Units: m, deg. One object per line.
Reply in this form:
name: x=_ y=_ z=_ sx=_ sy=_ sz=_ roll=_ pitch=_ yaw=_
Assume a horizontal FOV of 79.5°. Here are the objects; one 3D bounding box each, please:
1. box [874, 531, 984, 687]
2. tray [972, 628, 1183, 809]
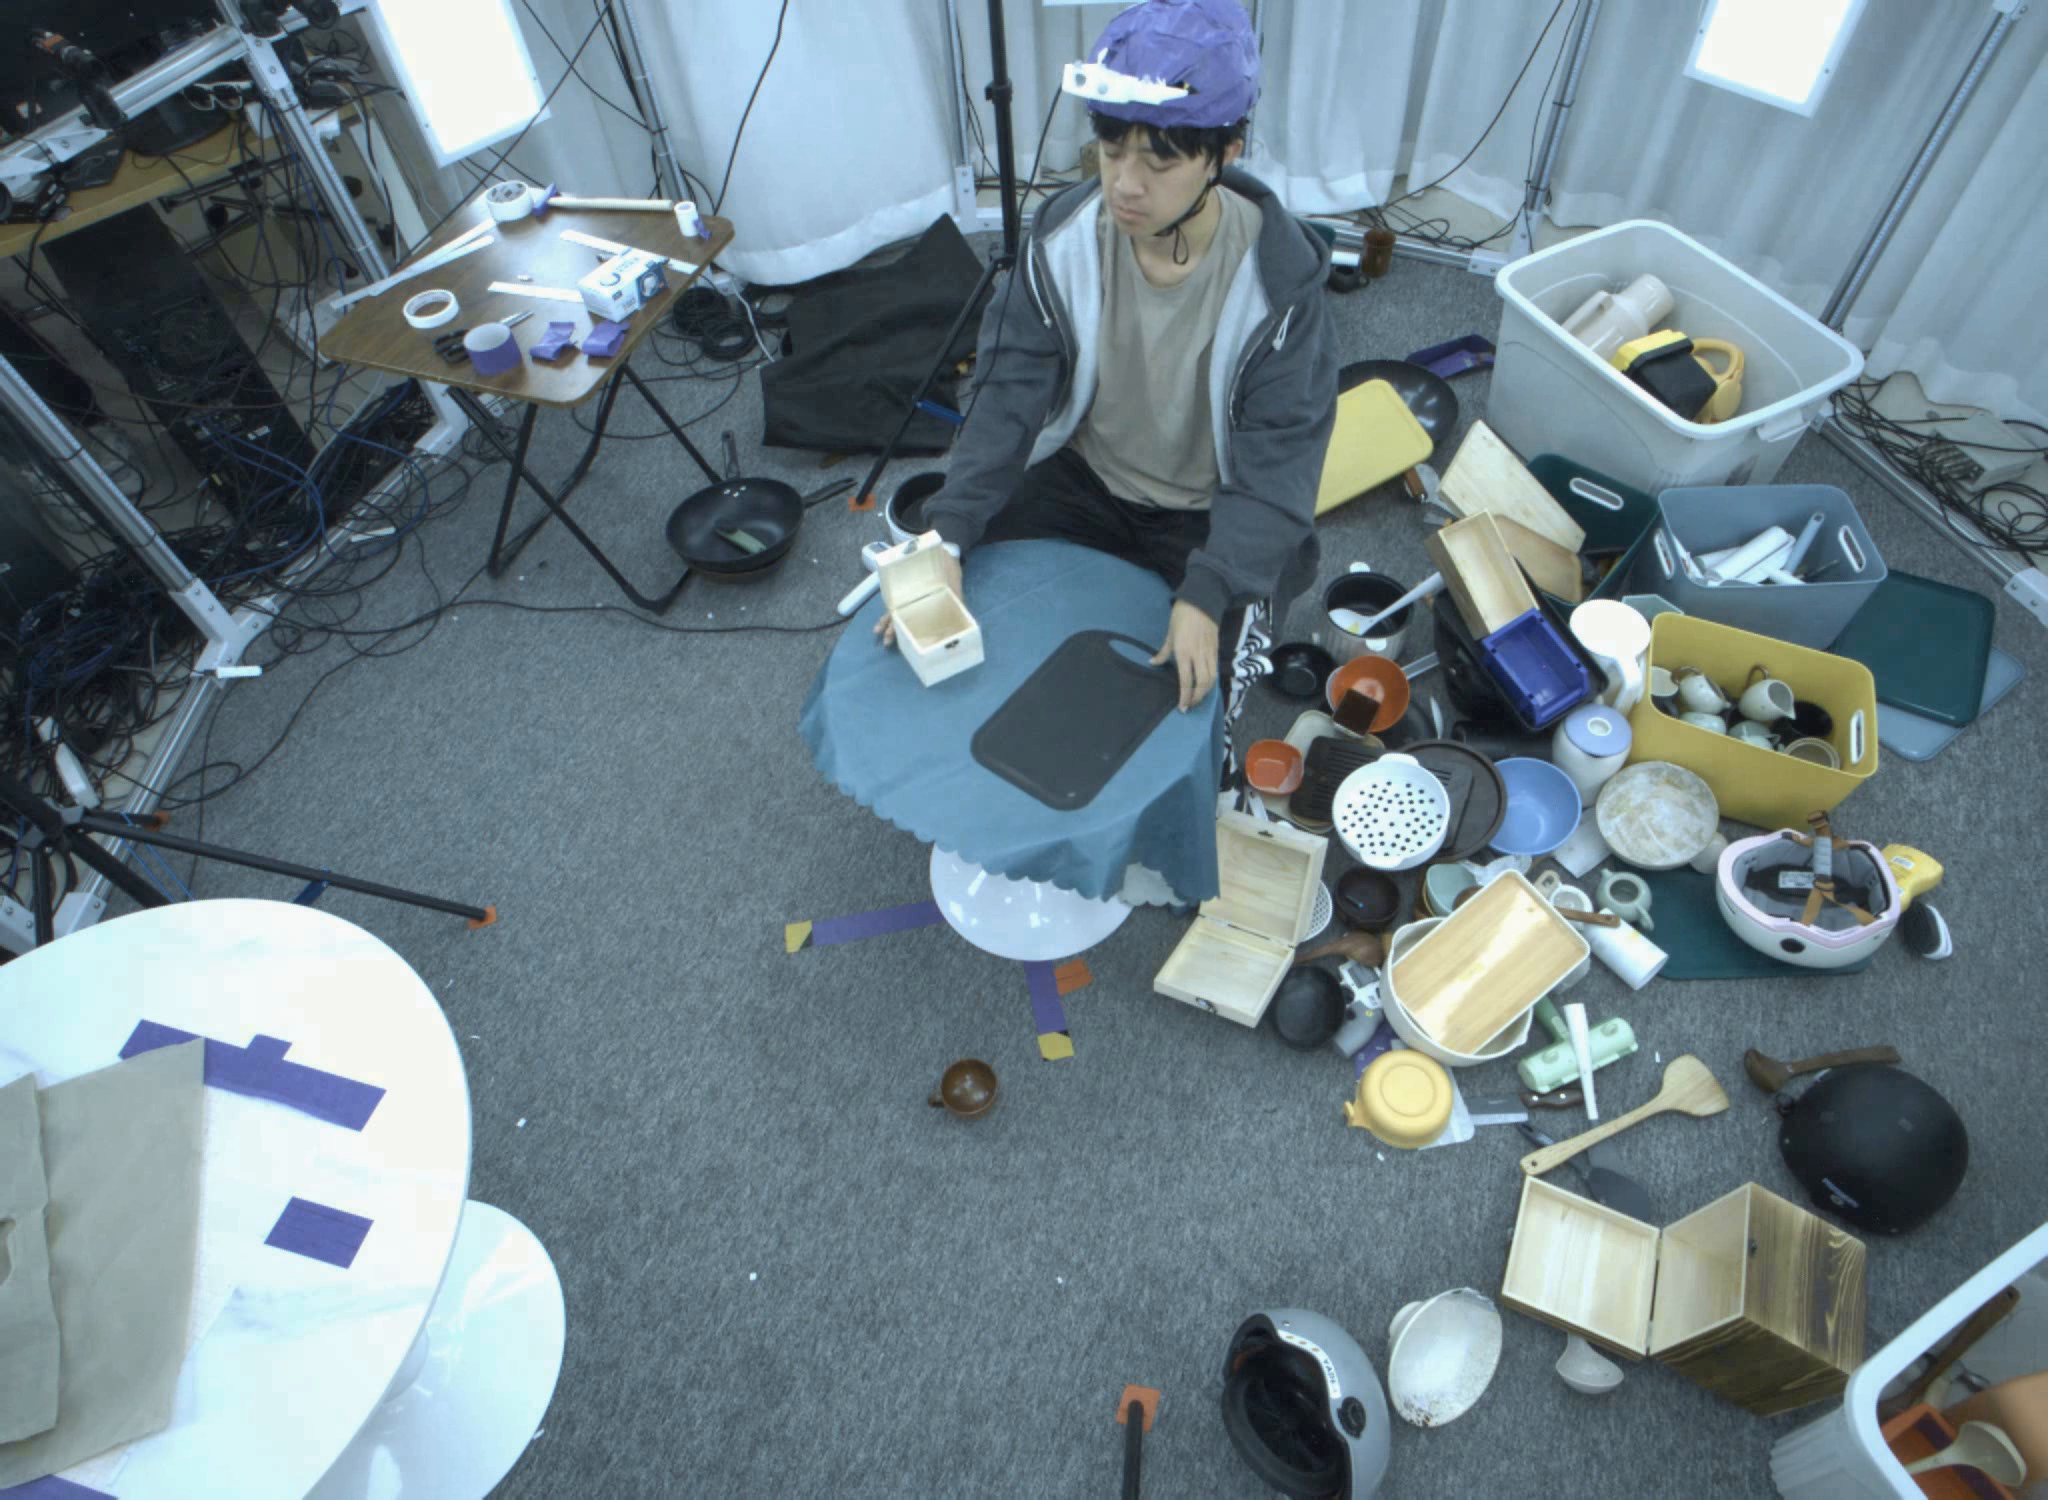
box: x=-0.141 y=-0.210 z=1.830 sx=0.103 sy=0.187 sz=0.131 roll=-27 pitch=56 yaw=-15
tray: x=0.085 y=-0.060 z=1.825 sx=0.207 sy=0.010 sz=0.327 roll=32 pitch=62 yaw=22
